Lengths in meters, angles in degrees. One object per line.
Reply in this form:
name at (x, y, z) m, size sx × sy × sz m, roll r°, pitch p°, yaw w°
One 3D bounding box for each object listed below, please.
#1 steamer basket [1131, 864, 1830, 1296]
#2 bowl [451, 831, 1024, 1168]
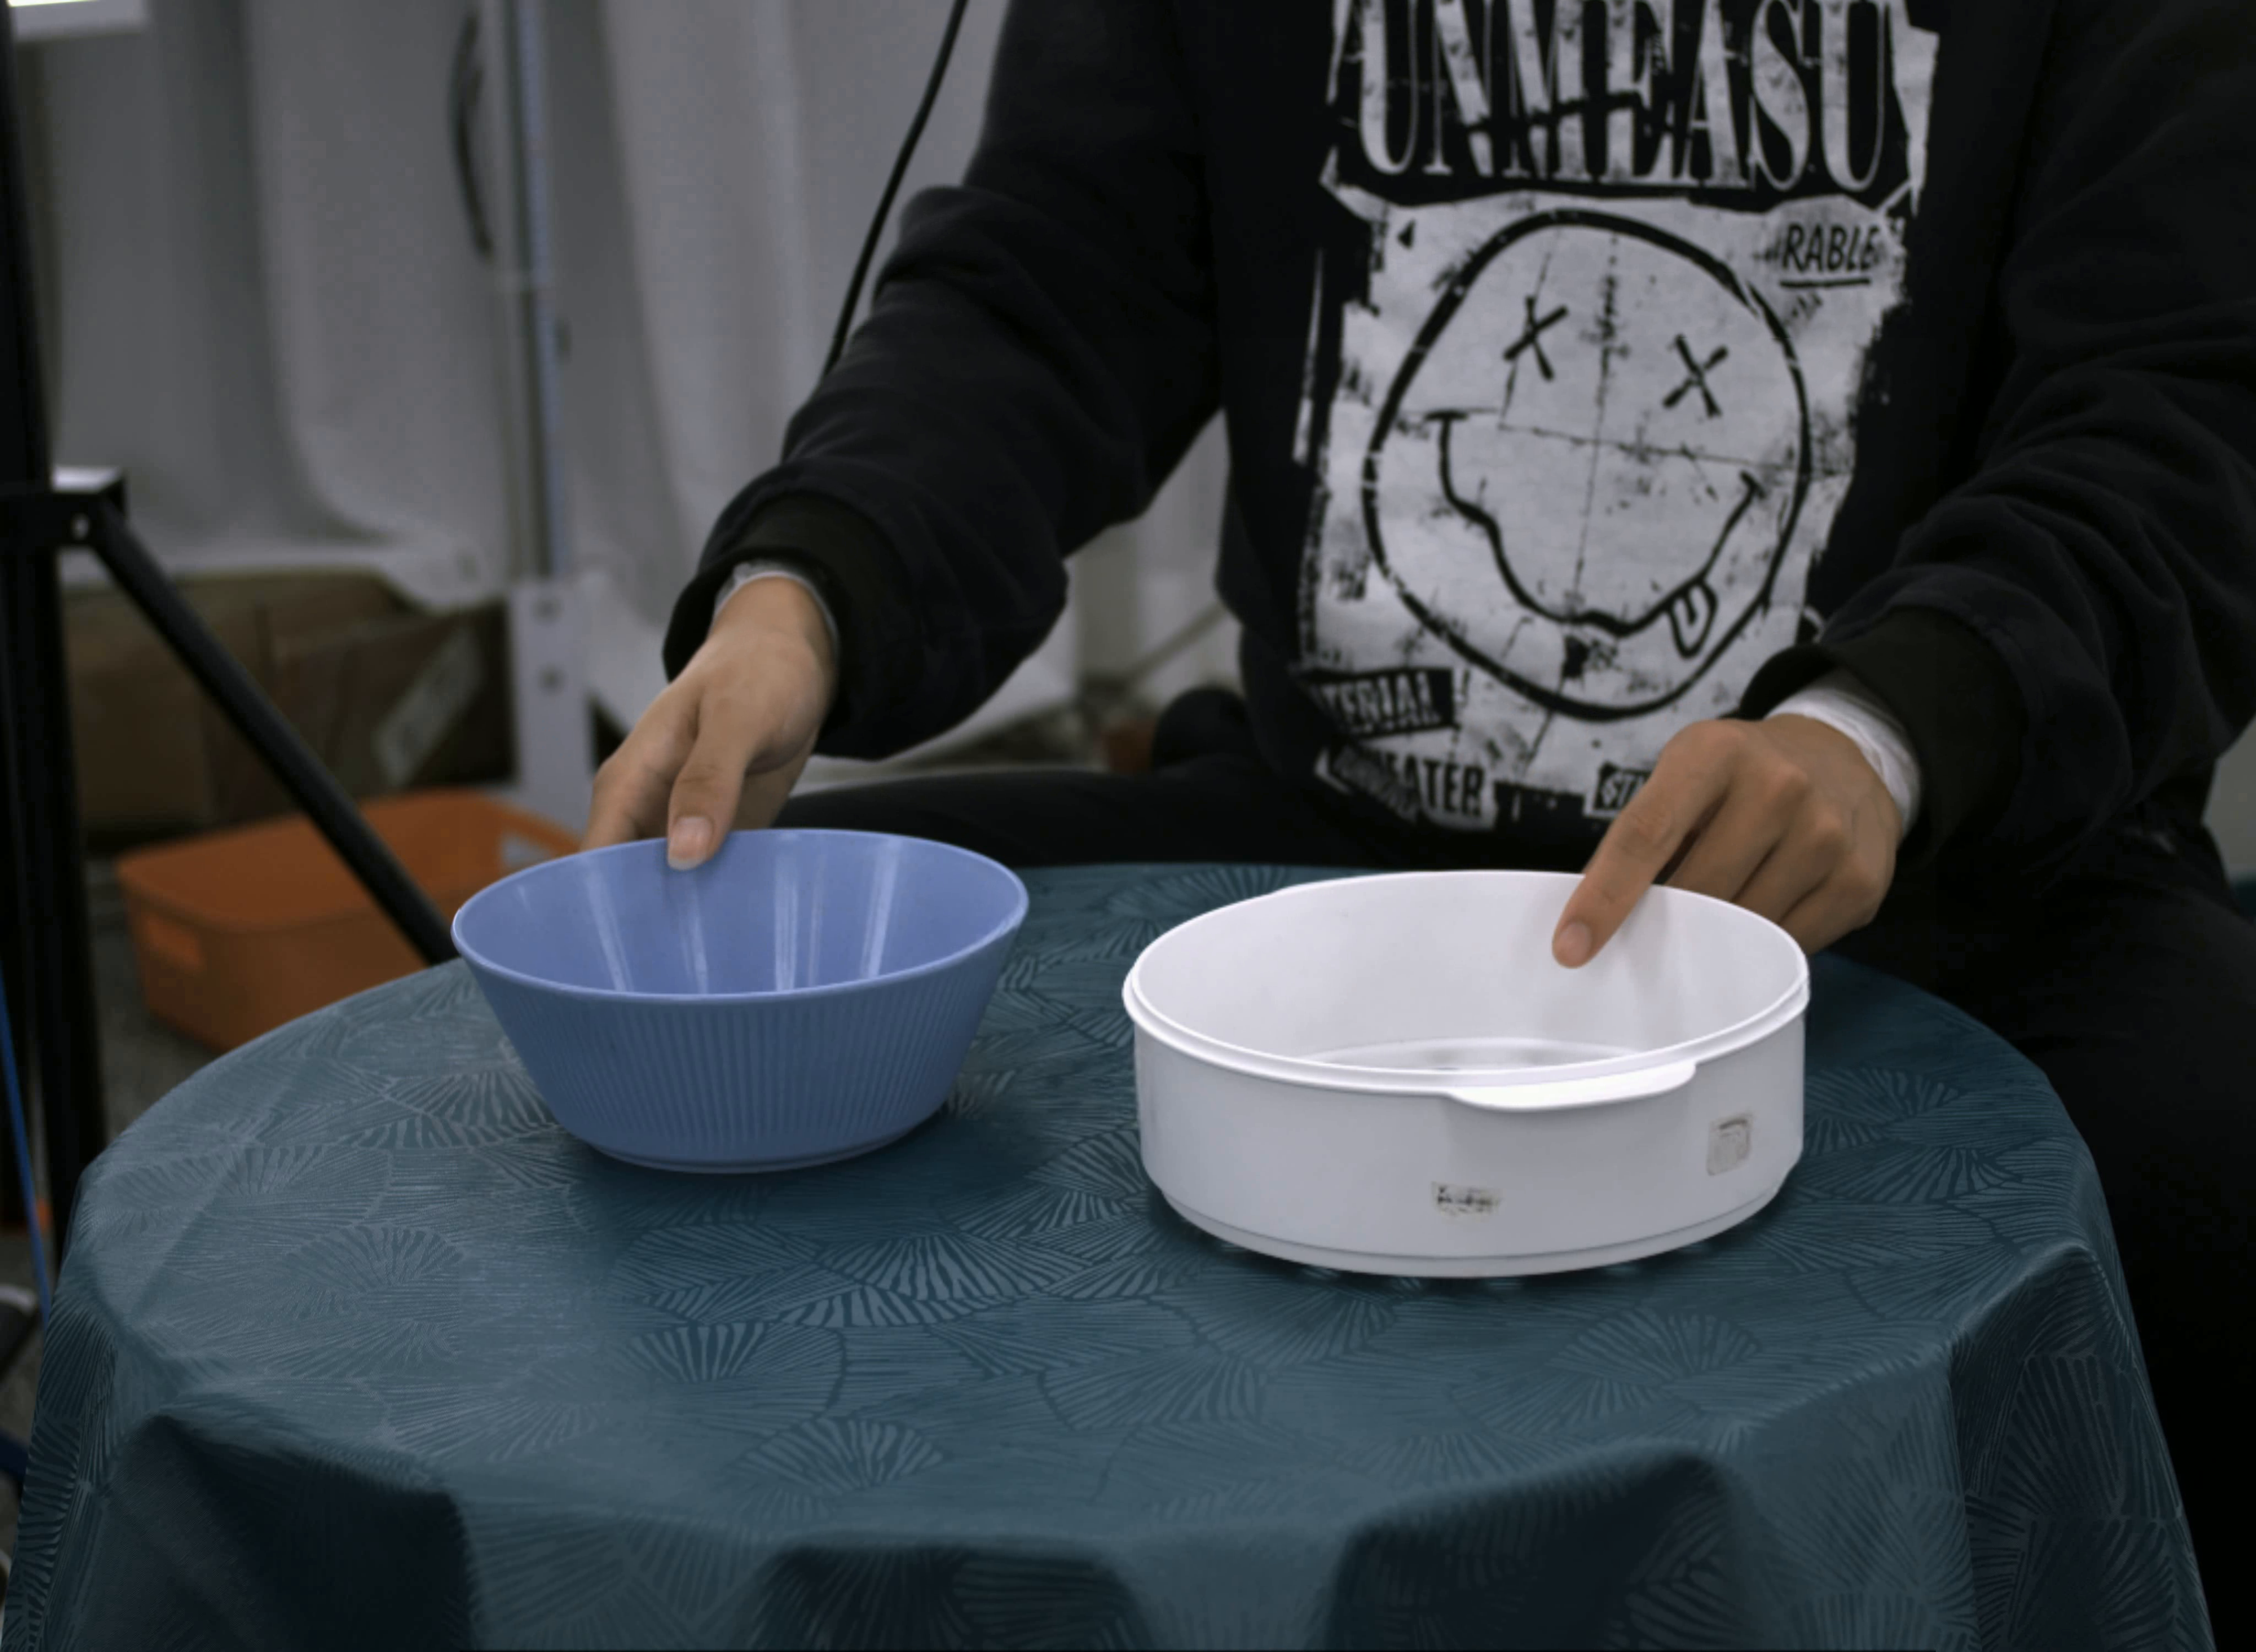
steamer basket at (0.102, 0.073, 1.537) m, size 0.199 × 0.069 × 0.234 m, roll -6°, pitch 18°, yaw -12°
bowl at (-0.118, 0.055, 1.634) m, size 0.175 × 0.070 × 0.177 m, roll -2°, pitch 16°, yaw -1°
